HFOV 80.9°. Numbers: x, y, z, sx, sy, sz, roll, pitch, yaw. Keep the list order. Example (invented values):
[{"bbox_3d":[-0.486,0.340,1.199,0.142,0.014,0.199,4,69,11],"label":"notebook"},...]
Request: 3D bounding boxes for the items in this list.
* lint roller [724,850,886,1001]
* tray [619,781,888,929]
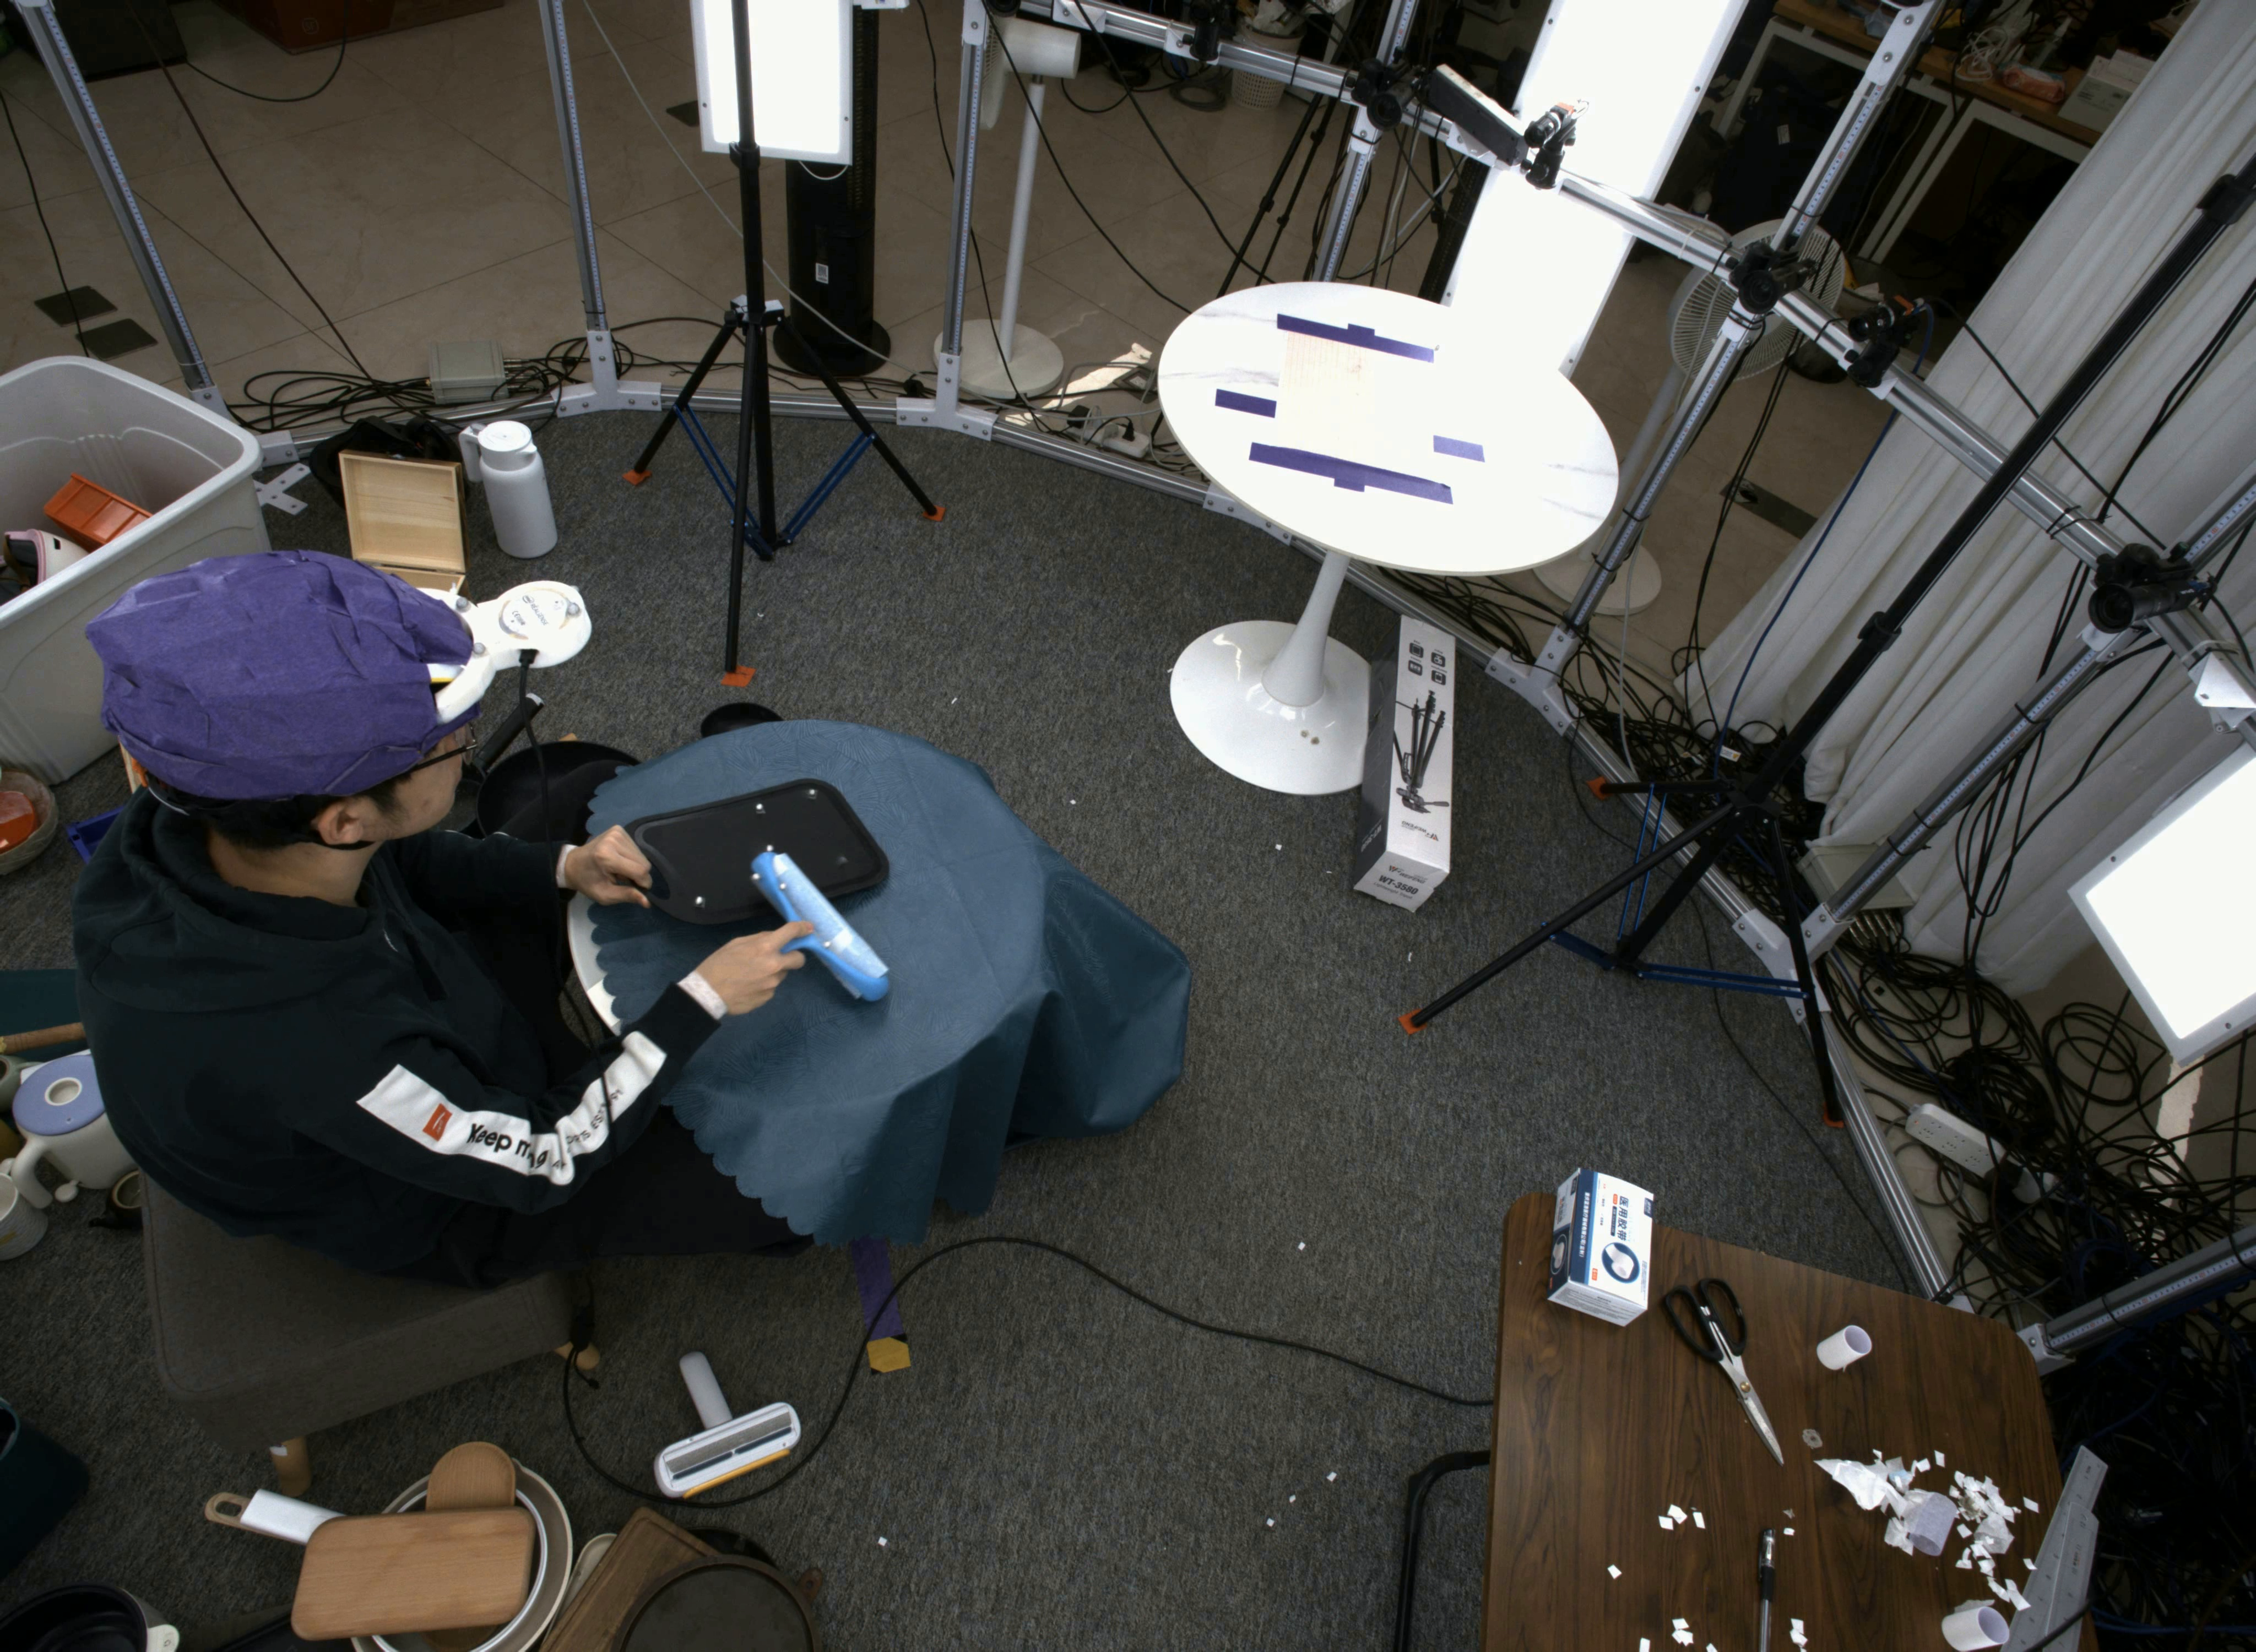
[{"bbox_3d":[-0.401,0.143,1.530,0.231,0.067,0.180,49,34,-6],"label":"lint roller"},{"bbox_3d":[-0.477,0.030,1.639,0.329,0.010,0.205,-15,53,-41],"label":"tray"}]
